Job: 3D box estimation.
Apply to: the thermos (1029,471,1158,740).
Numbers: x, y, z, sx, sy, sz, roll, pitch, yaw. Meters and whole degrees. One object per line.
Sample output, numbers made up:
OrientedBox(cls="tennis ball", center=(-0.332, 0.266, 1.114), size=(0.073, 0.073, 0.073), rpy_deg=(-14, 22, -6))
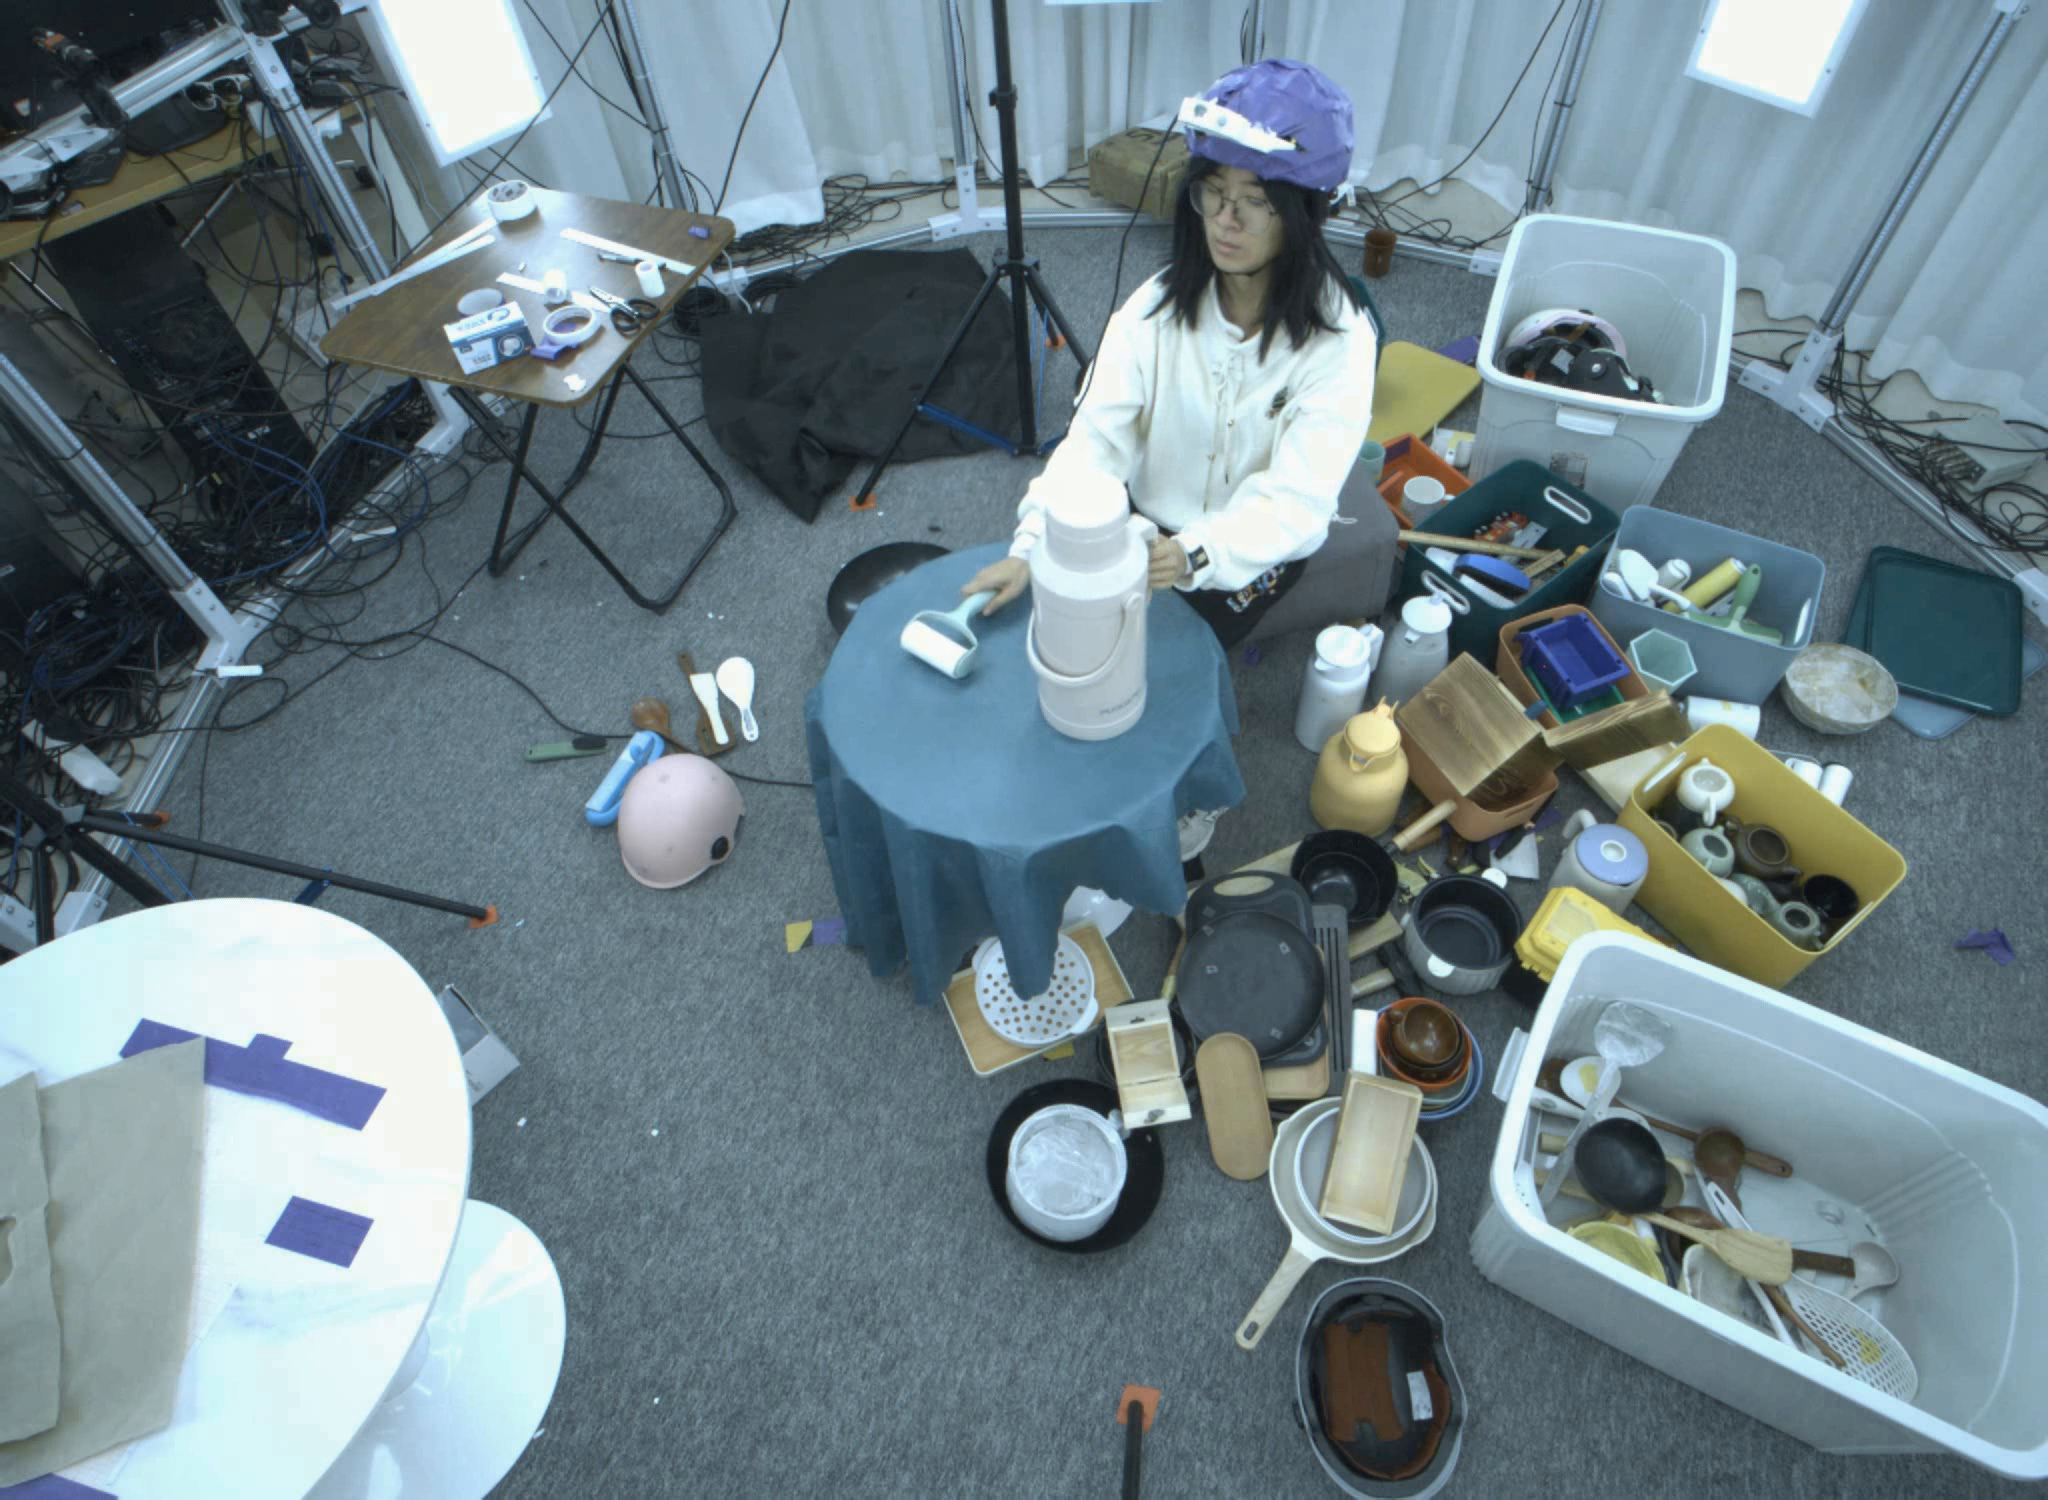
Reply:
OrientedBox(cls="thermos", center=(0.100, -0.200, 1.682), size=(0.208, 0.411, 0.172), rpy_deg=(-37, 60, -21))

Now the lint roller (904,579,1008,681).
OrientedBox(cls="lint roller", center=(-0.085, -0.201, 1.890), size=(0.115, 0.049, 0.198), rpy_deg=(31, 67, 19))
